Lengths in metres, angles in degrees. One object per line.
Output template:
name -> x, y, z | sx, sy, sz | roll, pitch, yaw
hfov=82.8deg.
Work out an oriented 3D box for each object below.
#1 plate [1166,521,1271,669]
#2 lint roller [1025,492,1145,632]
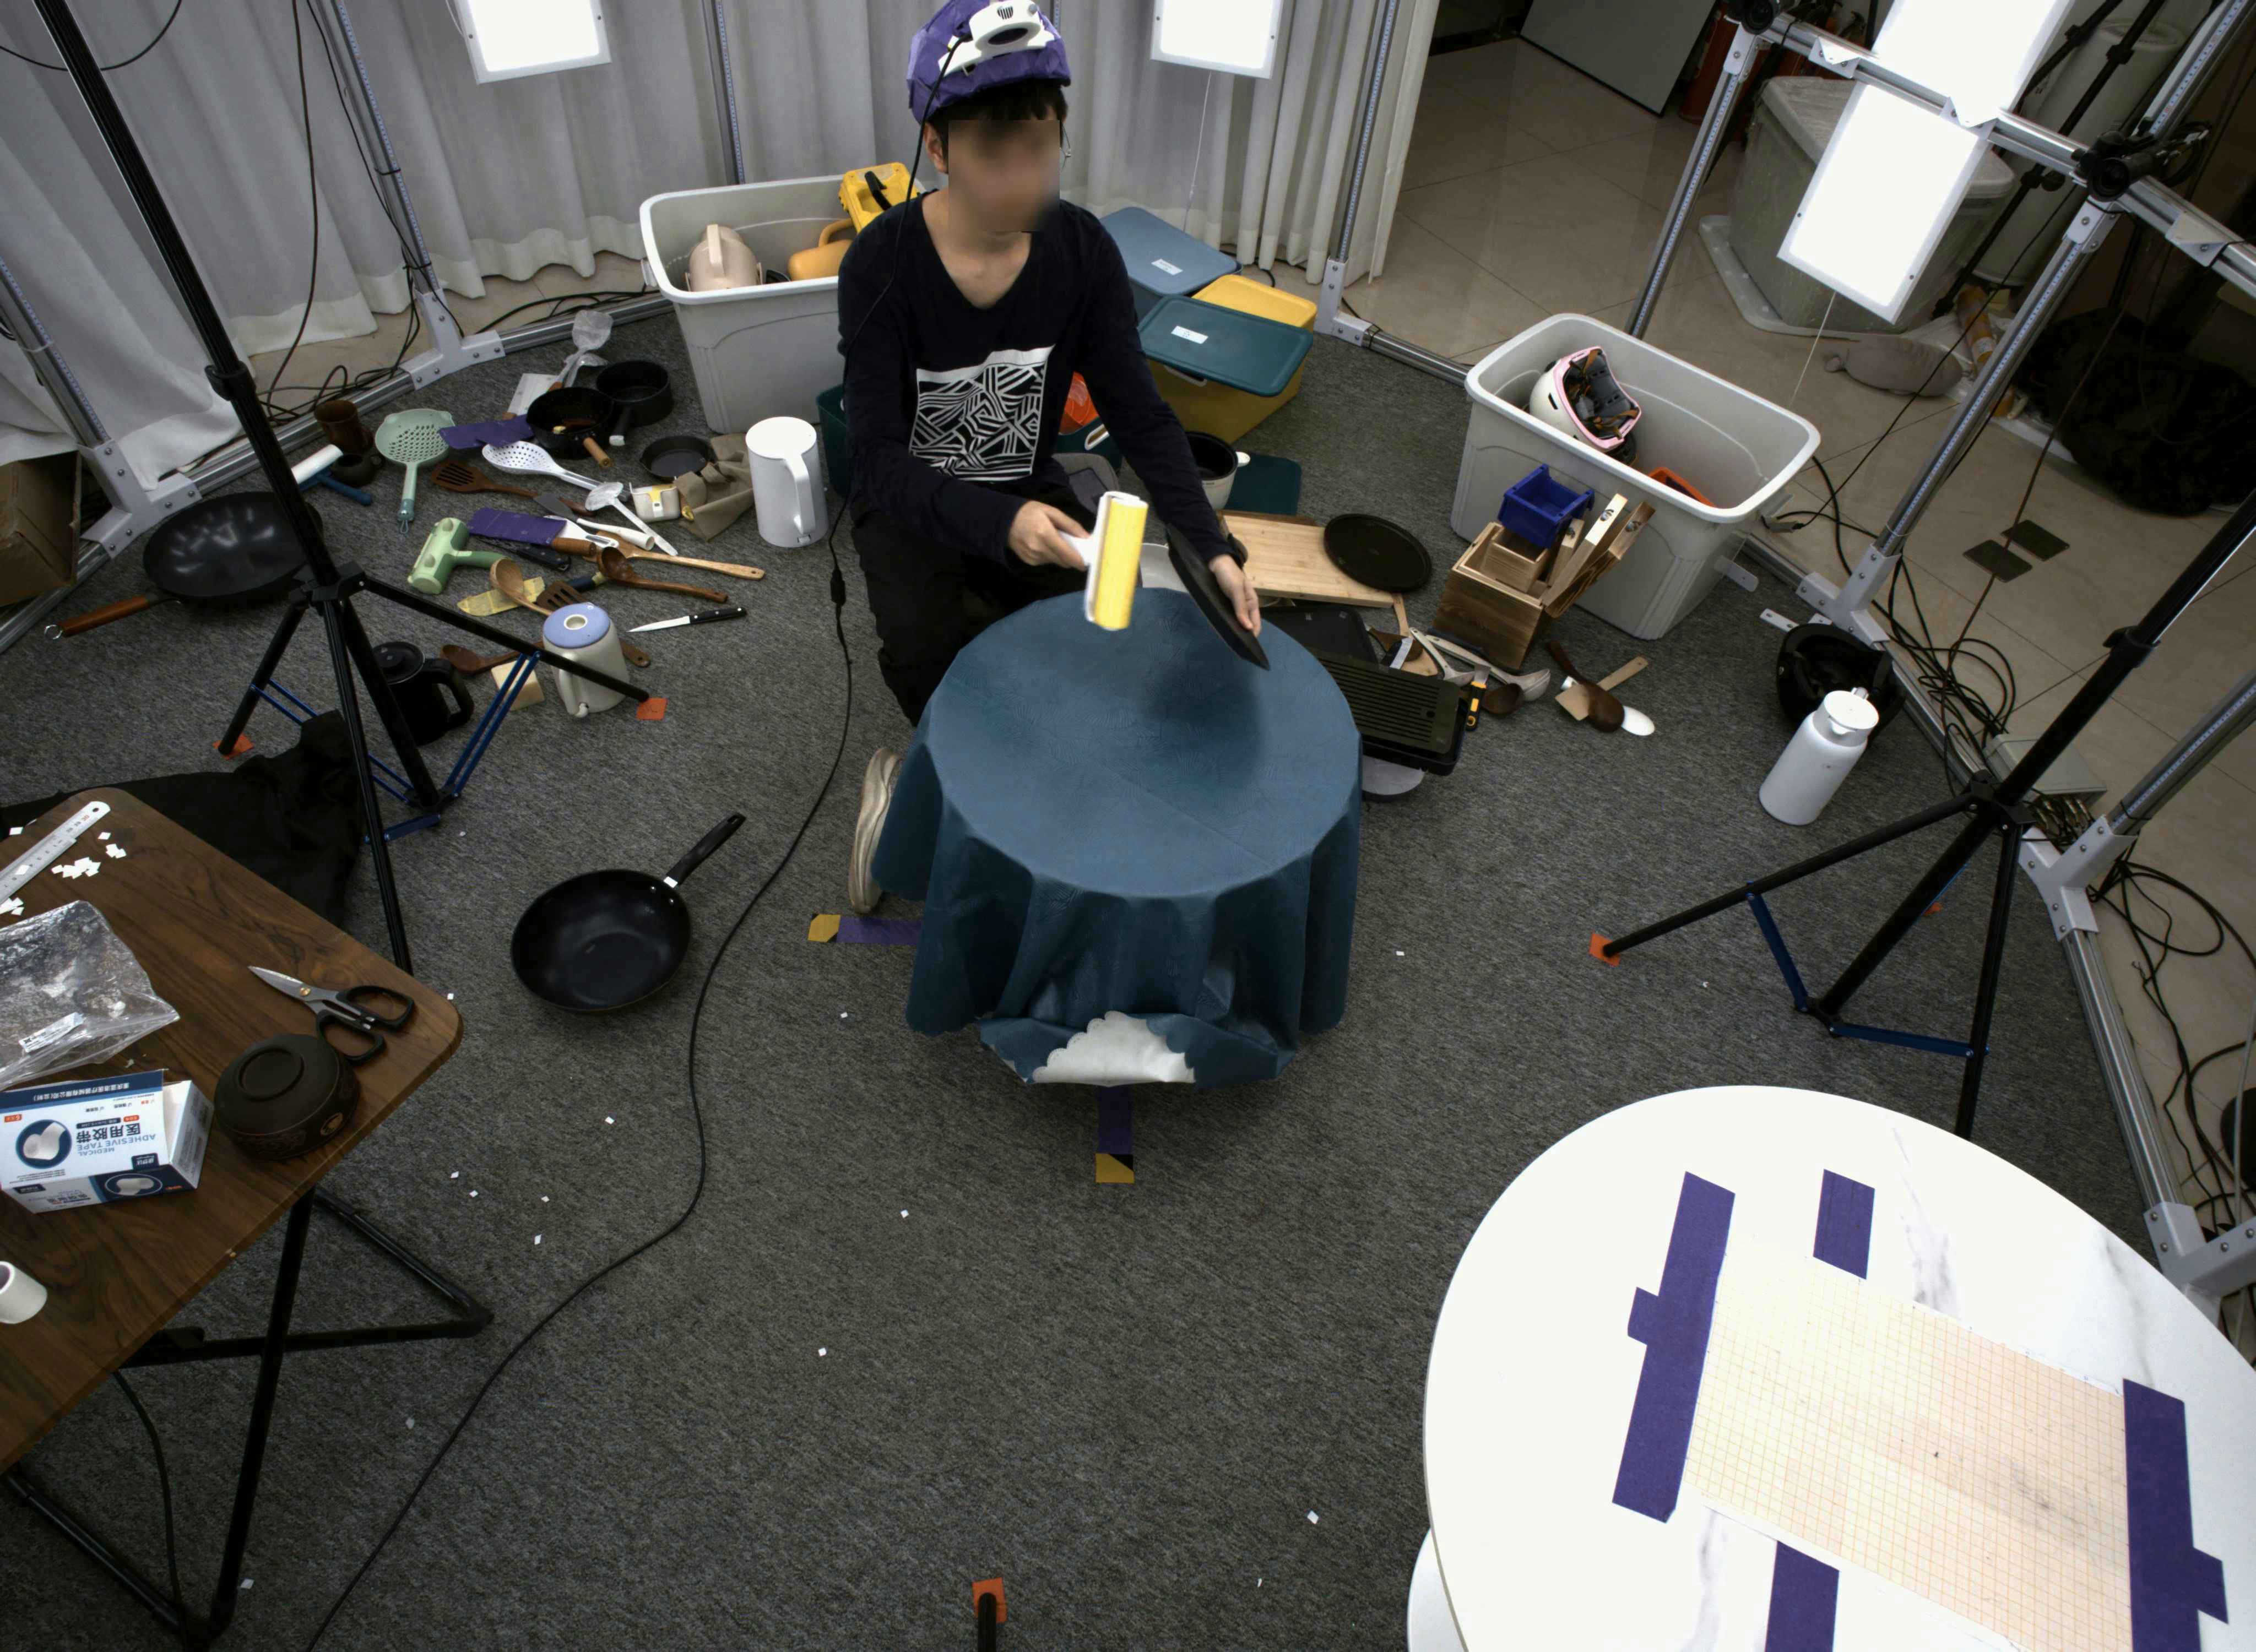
plate -> 0.118, -0.310, 1.757 | 0.023, 0.240, 0.250 | -35, 52, 15
lint roller -> -0.071, -0.360, 1.690 | 0.194, 0.172, 0.051 | 22, 23, 29
